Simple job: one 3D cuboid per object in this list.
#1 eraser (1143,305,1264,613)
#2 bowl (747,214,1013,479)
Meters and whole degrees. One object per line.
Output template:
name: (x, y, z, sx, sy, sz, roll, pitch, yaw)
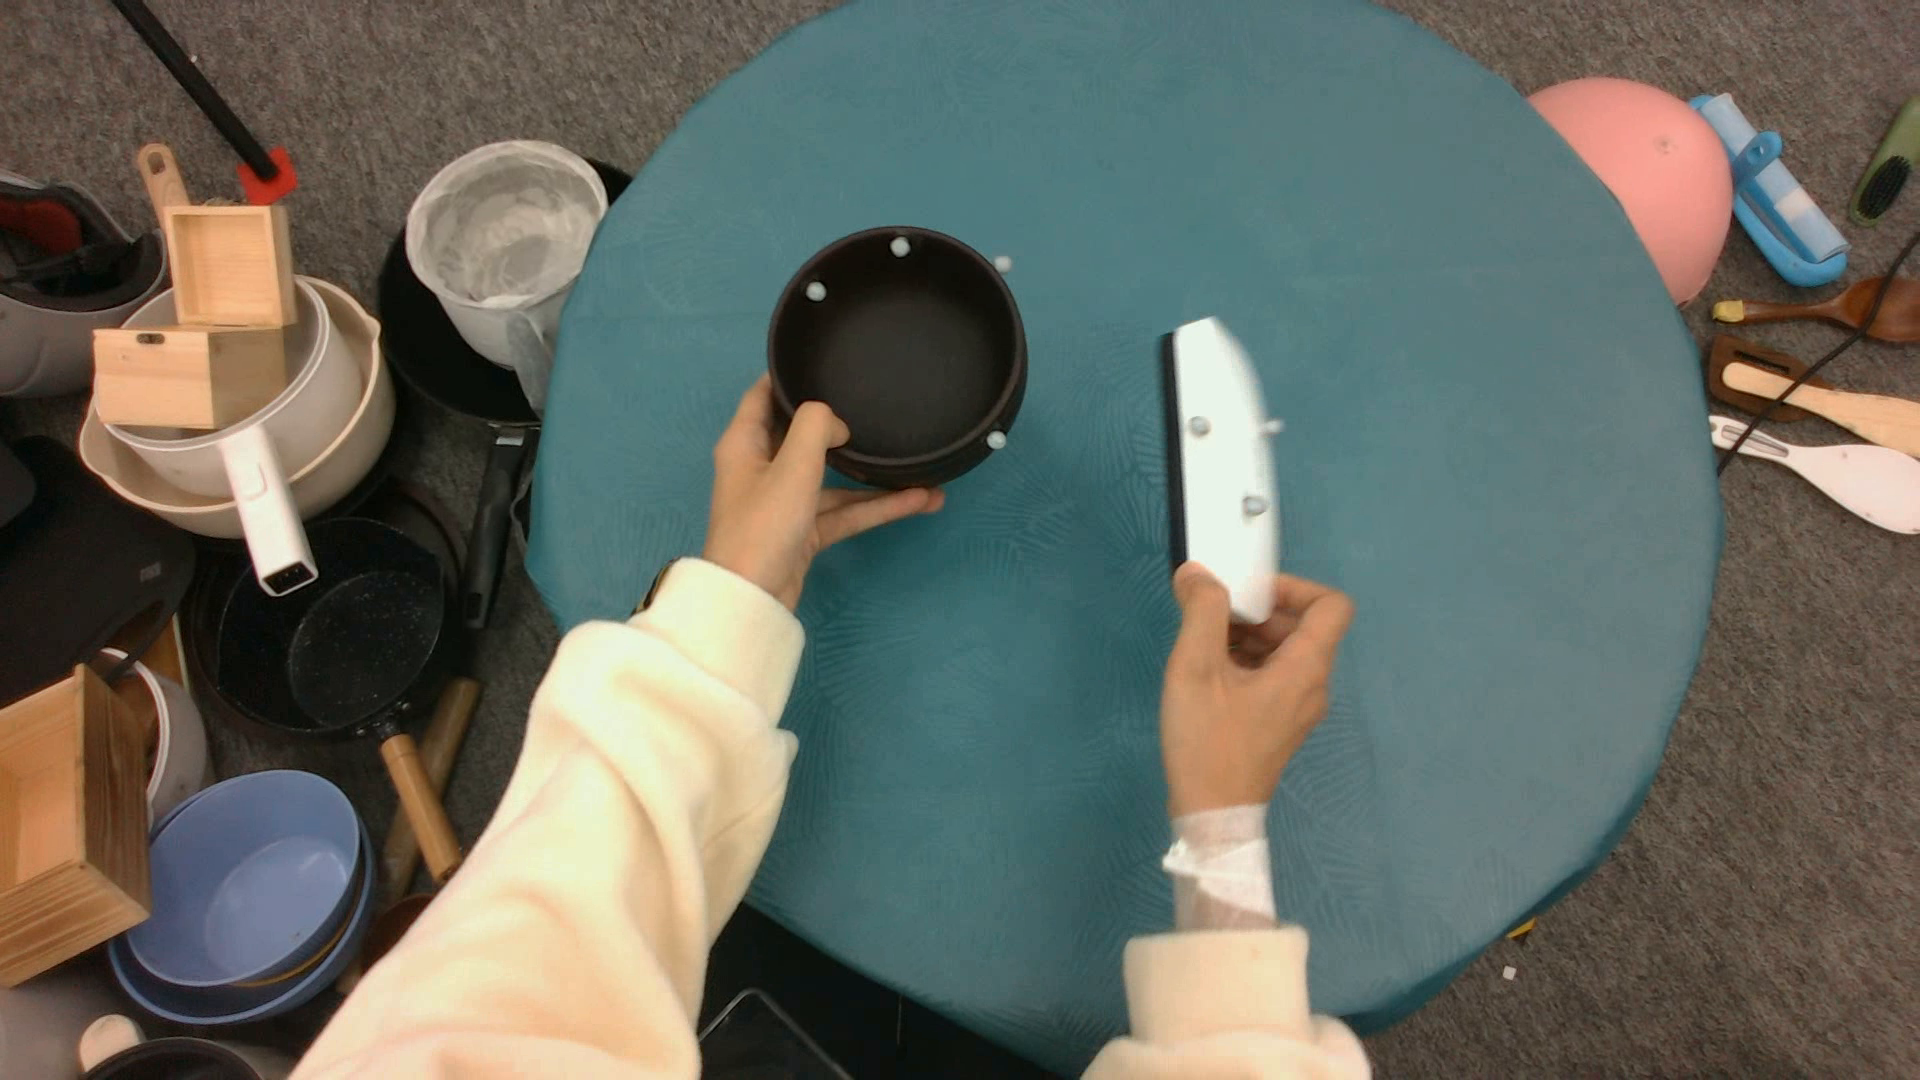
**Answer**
eraser: (0.107, -0.035, 0.598, 0.034, 0.063, 0.131, -10, 70, 30)
bowl: (-0.034, -0.083, 0.635, 0.118, 0.070, 0.118, -1, 75, 5)
